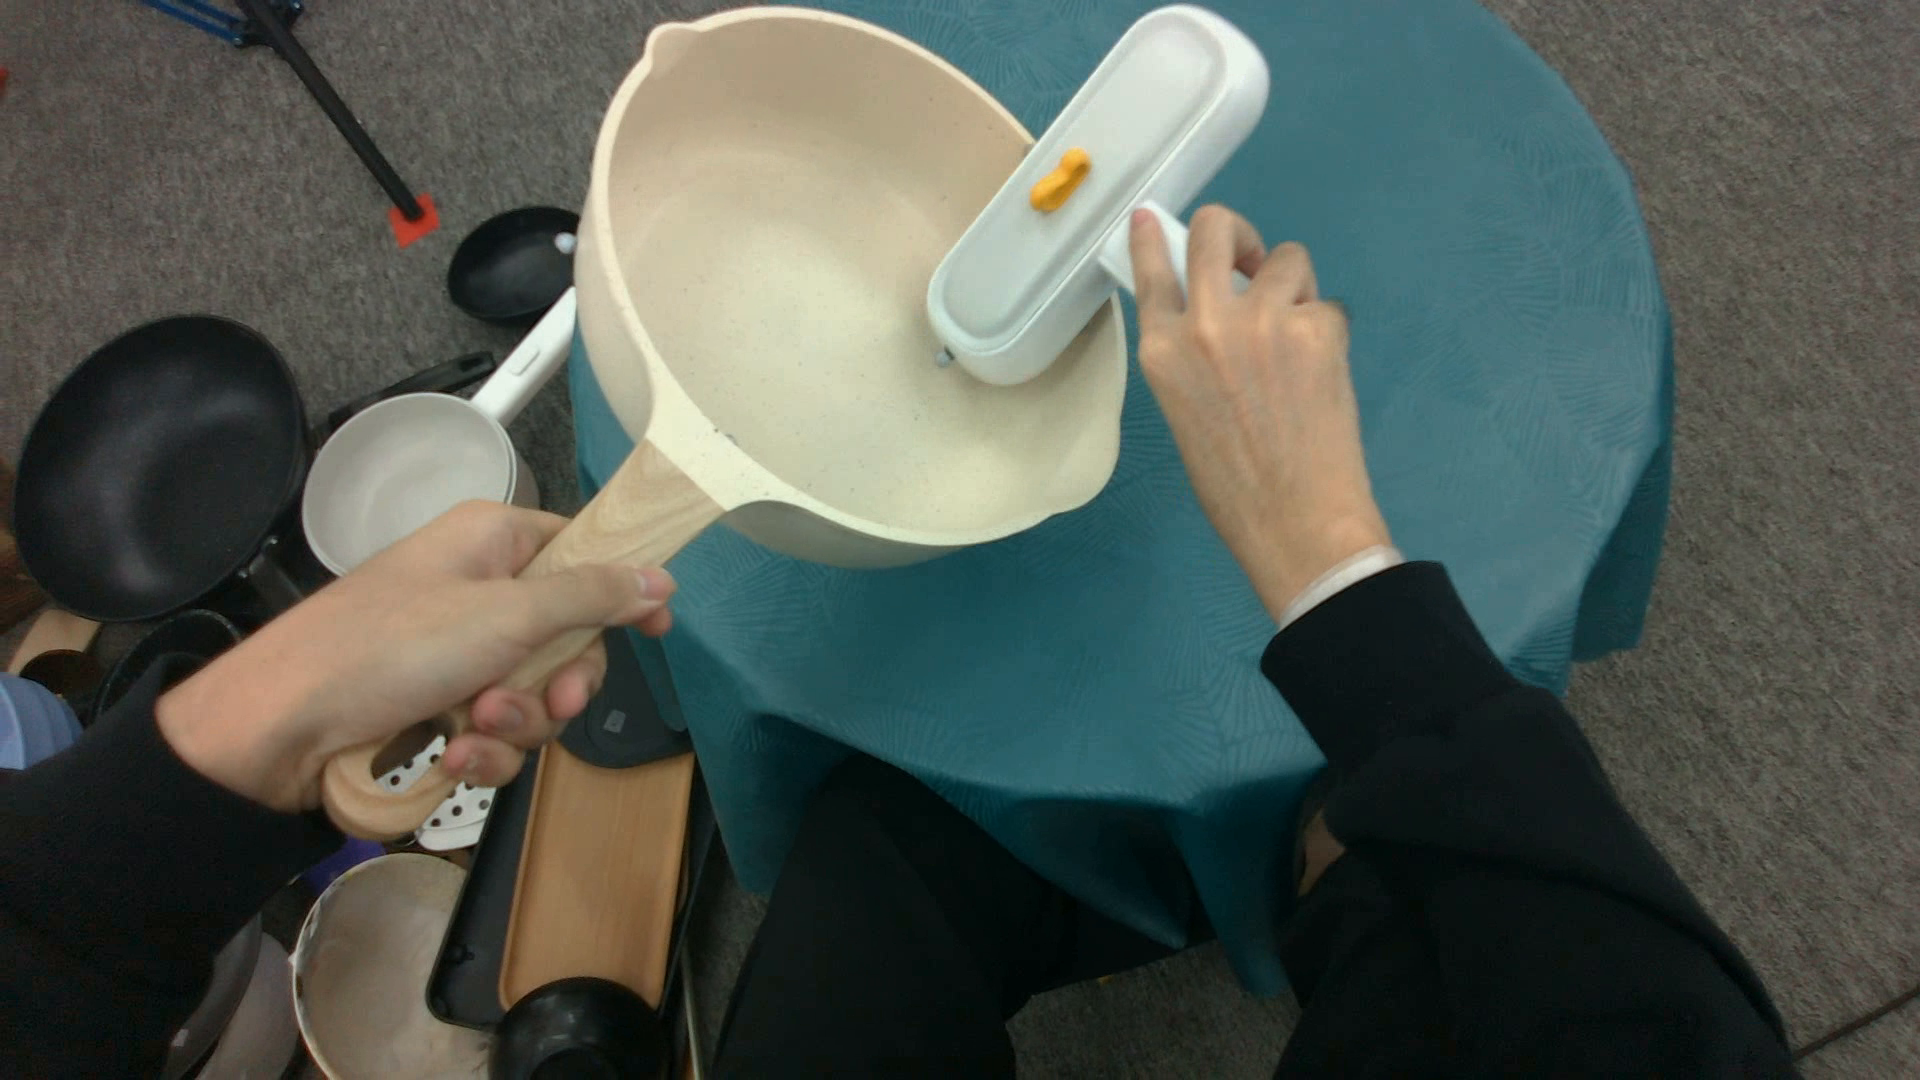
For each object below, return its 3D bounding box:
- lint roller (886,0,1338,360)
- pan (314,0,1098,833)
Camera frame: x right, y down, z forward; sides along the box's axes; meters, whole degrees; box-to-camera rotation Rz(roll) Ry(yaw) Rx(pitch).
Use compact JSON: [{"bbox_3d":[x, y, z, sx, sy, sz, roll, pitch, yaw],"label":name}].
[{"bbox_3d":[0.083,-0.133,0.585,0.193,0.074,0.192,-39,62,-3],"label":"lint roller"},{"bbox_3d":[-0.100,-0.057,0.548,0.263,0.101,0.437,44,53,-13],"label":"pan"}]
